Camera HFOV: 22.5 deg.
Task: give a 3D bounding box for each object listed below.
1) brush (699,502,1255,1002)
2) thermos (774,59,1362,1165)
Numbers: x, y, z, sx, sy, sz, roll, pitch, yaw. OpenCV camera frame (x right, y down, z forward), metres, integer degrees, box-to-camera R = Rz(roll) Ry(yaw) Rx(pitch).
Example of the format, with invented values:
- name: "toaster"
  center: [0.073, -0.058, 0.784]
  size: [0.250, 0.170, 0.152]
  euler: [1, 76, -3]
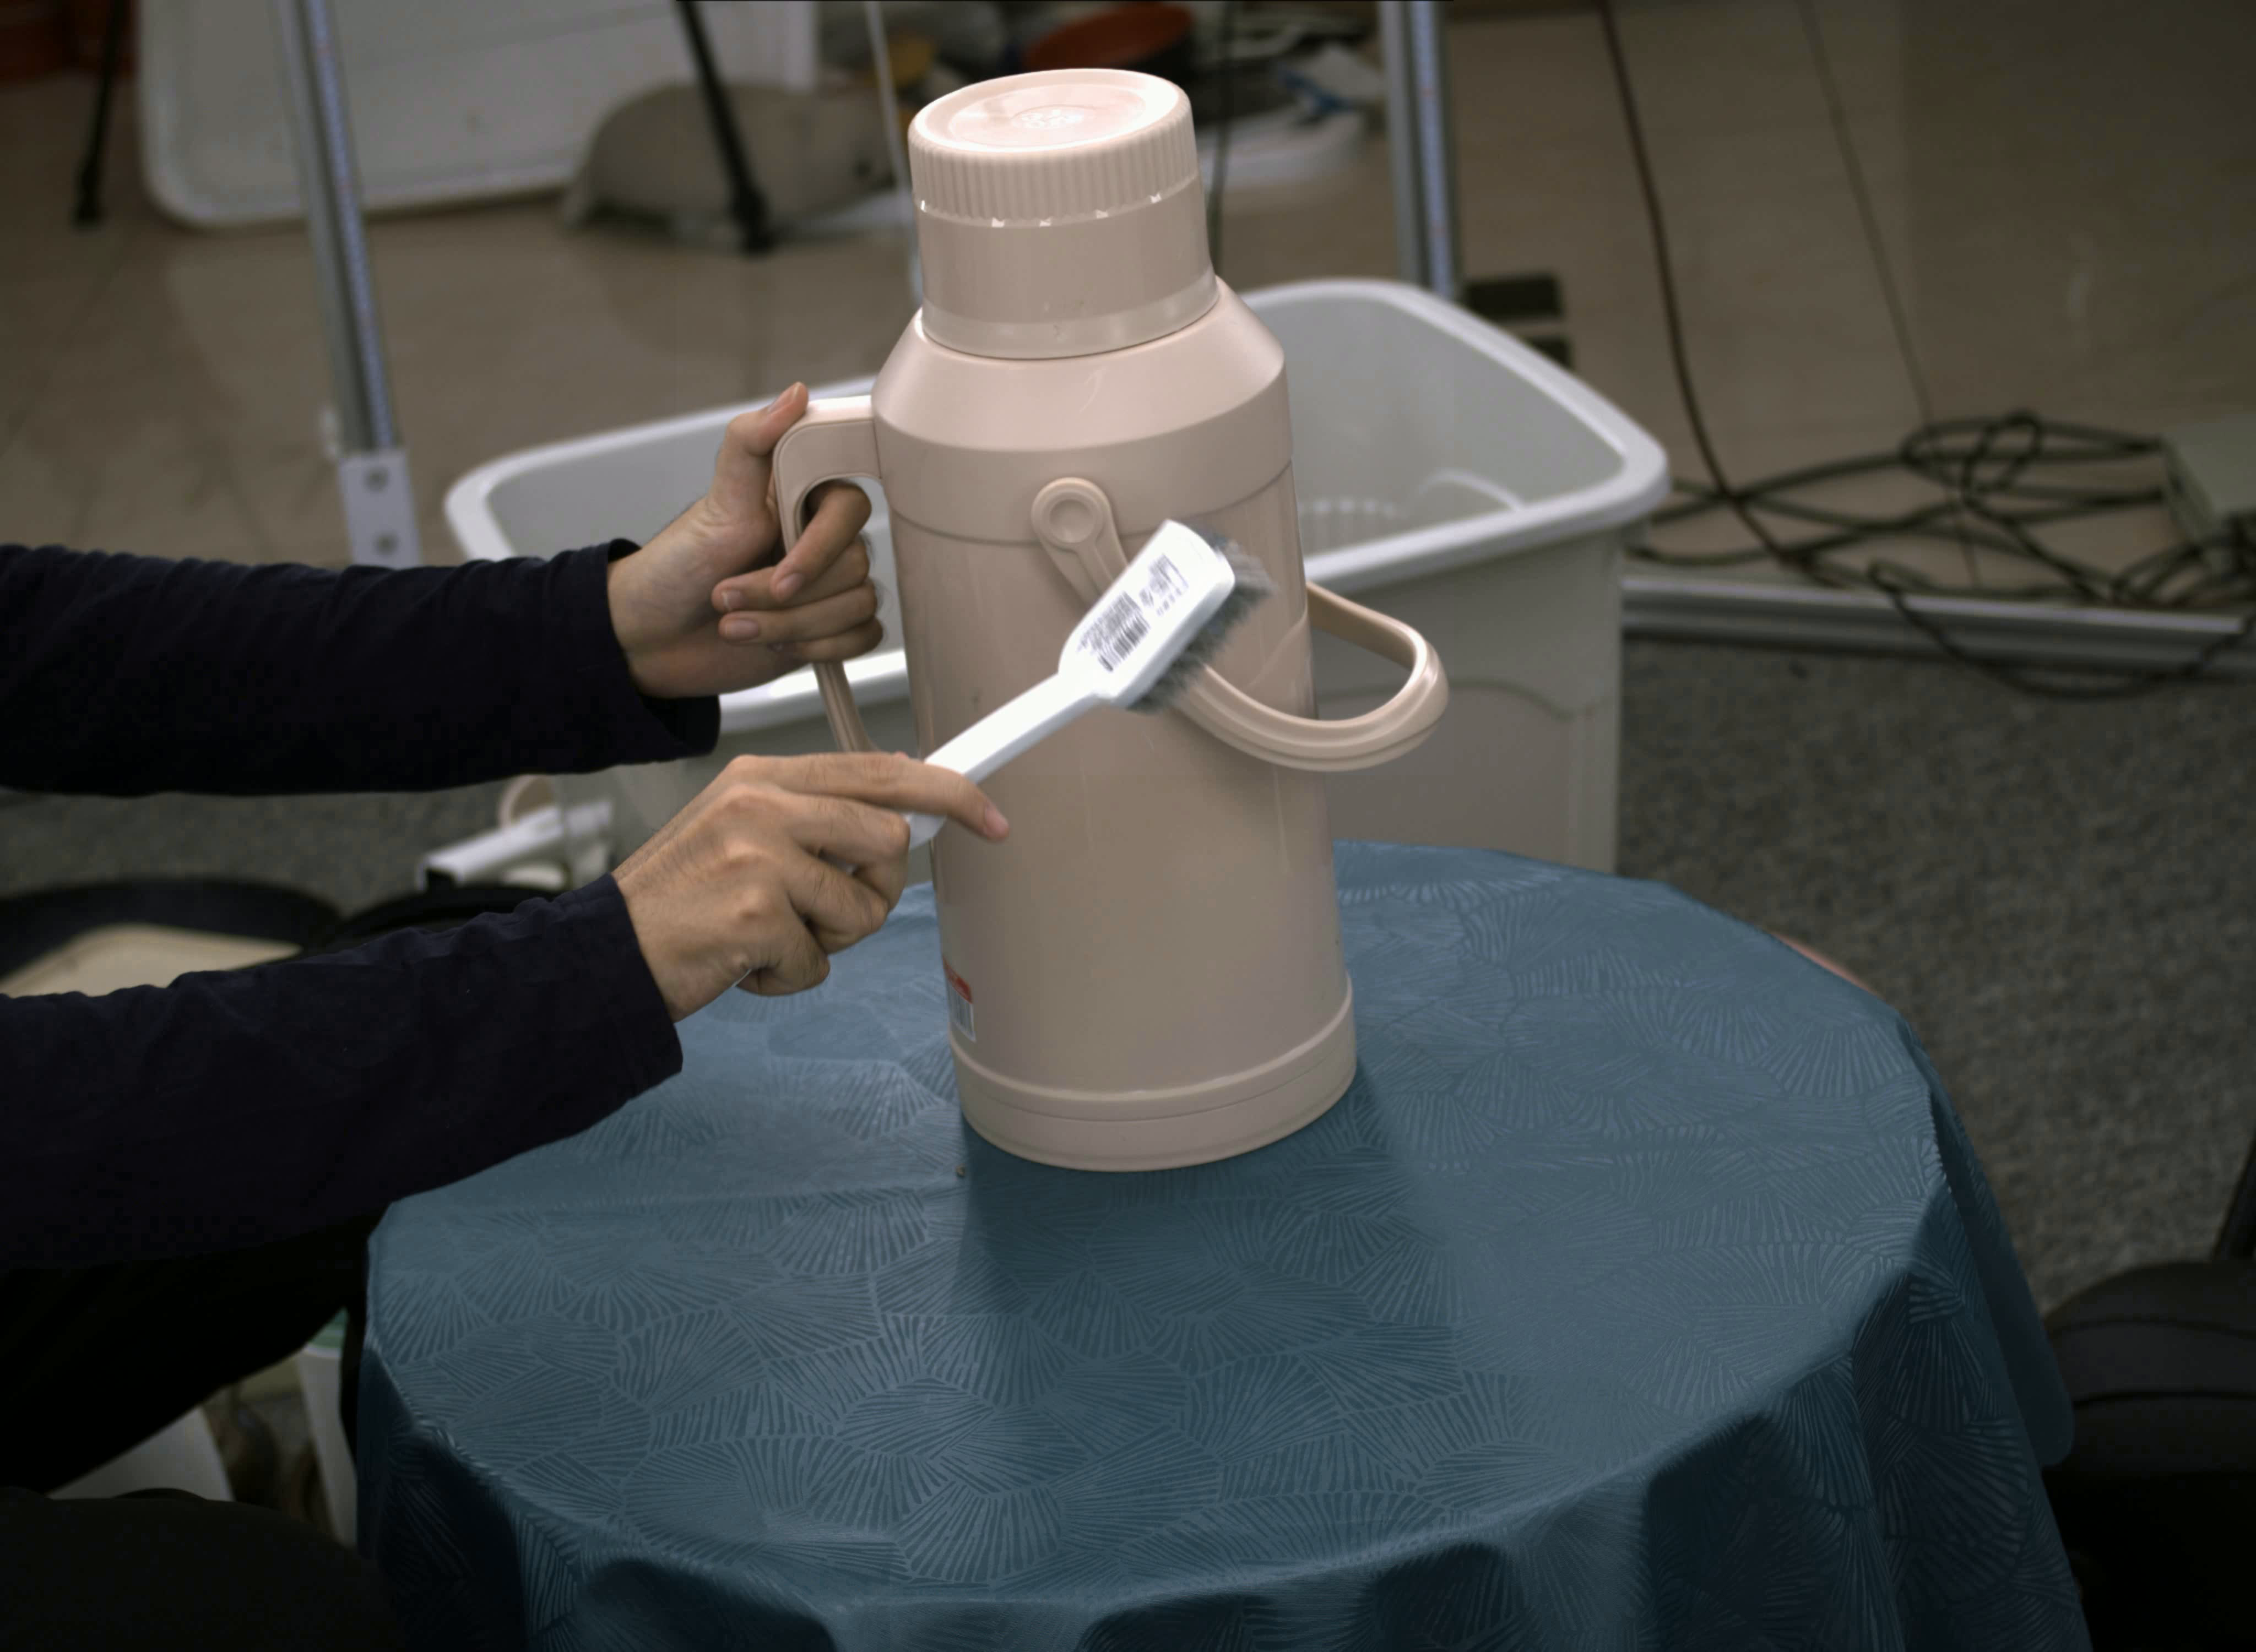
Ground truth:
- name: "brush"
  center: [-0.051, -0.020, 1.955]
  size: [0.243, 0.051, 0.034]
  euler: [-45, 62, -5]
- name: "thermos"
  center: [-0.022, -0.081, 2.148]
  size: [0.207, 0.413, 0.172]
  euler: [-5, 28, 4]
